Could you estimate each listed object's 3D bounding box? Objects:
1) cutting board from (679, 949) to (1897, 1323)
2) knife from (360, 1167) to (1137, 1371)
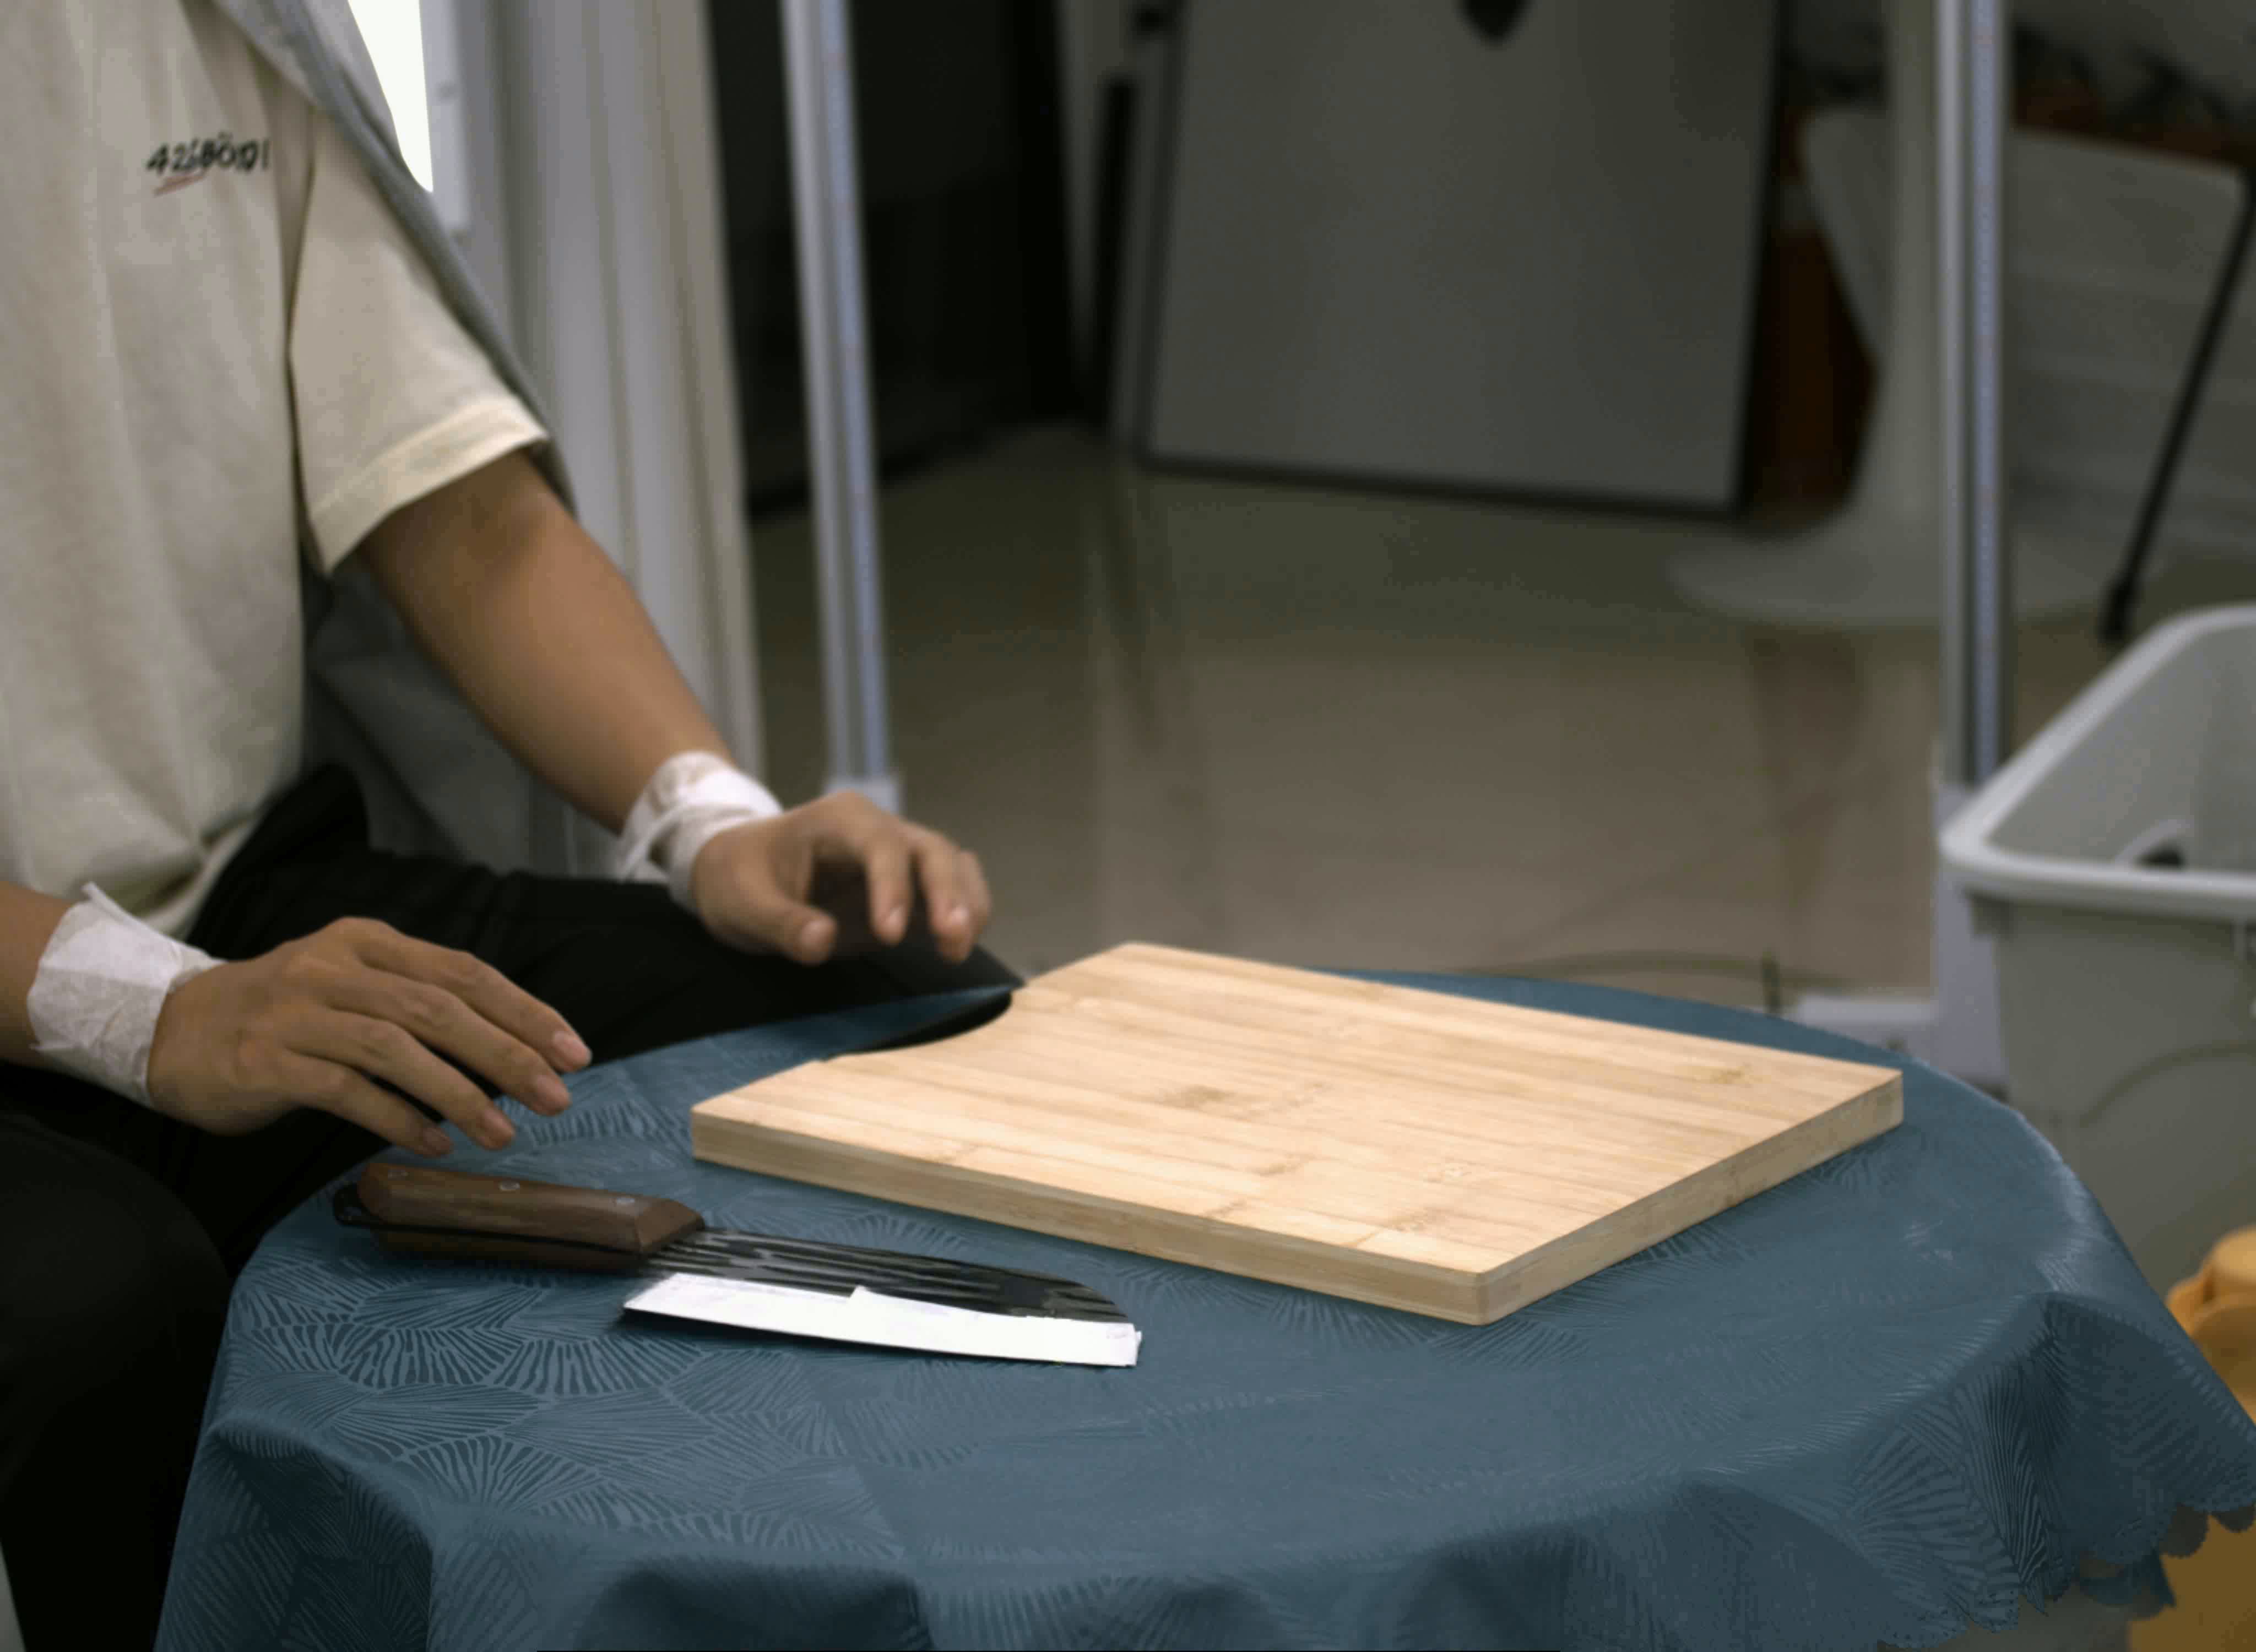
[{"bbox_3d":[0.051,0.099,1.818,0.351,0.024,0.246,7,18,40],"label":"cutting board"},{"bbox_3d":[-0.125,0.141,1.690,0.300,0.024,0.067,6,19,26],"label":"knife"}]
